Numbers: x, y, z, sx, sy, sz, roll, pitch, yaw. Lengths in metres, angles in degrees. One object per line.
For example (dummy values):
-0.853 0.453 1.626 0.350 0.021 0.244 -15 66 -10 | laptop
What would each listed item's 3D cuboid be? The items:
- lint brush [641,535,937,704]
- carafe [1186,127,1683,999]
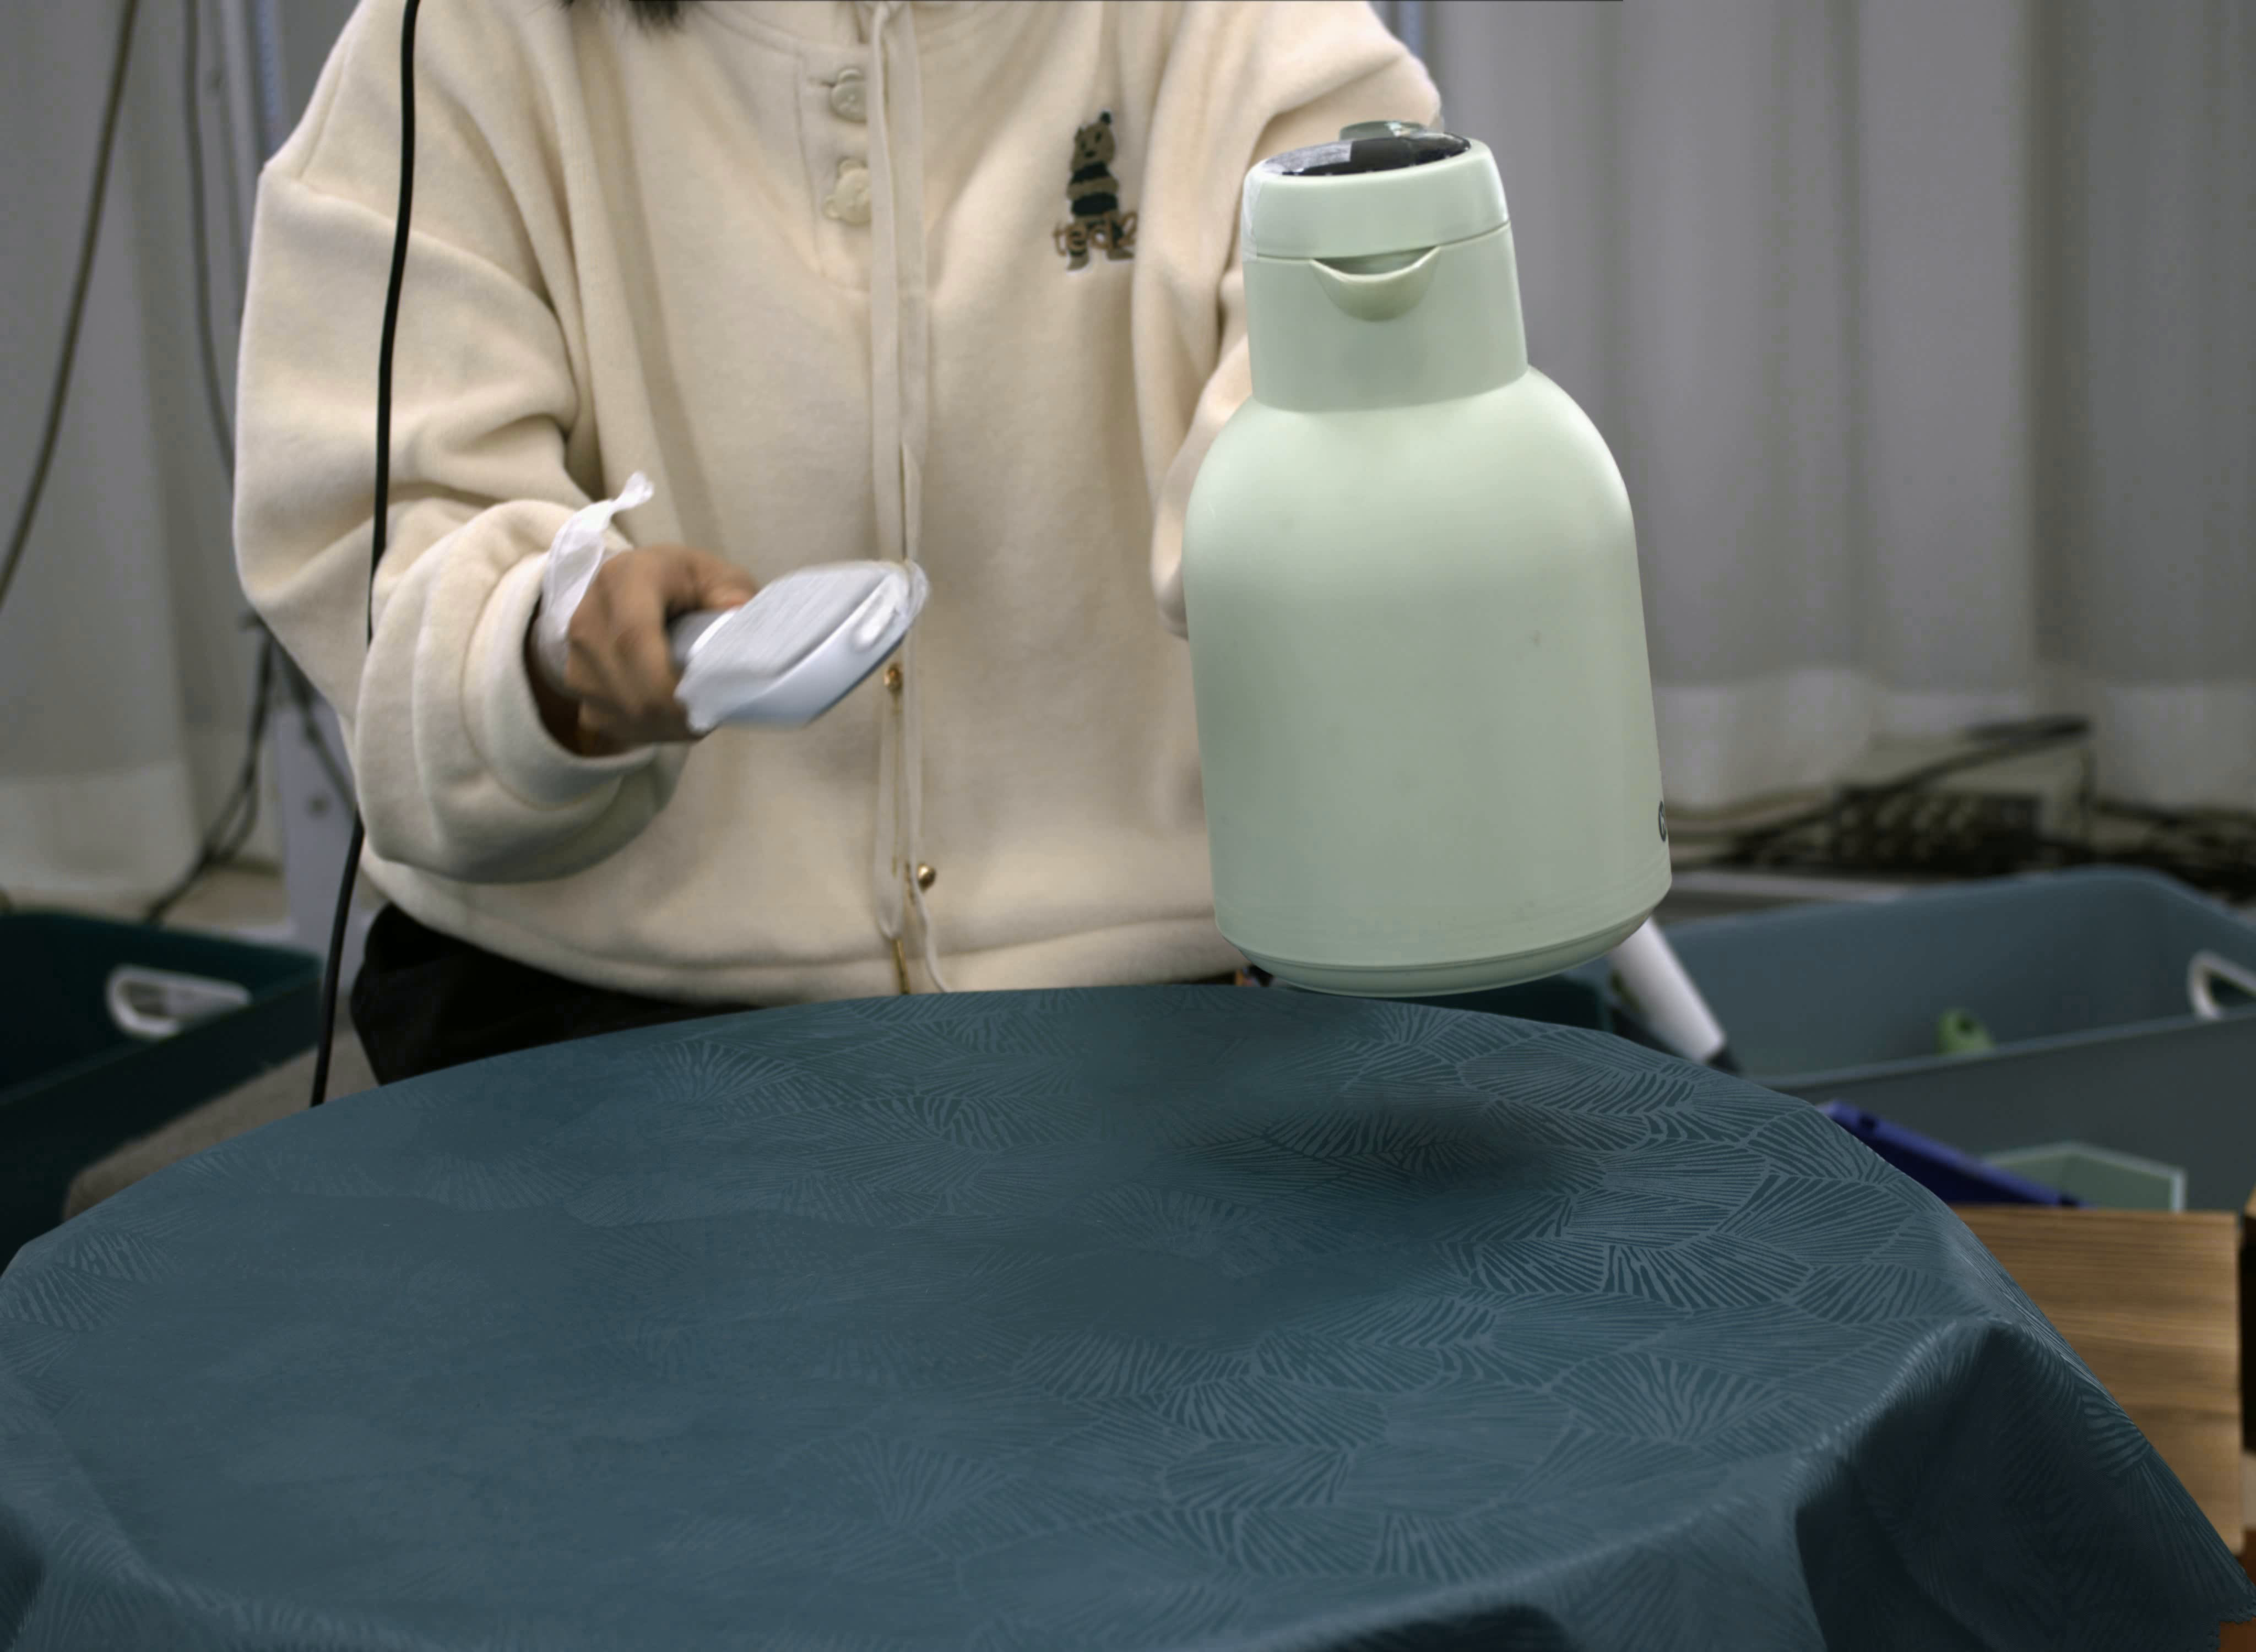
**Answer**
-0.112 -0.062 1.702 0.060 0.021 0.309 -46 11 -11 | lint brush
0.089 -0.087 1.713 0.144 0.256 0.187 -7 10 5 | carafe
